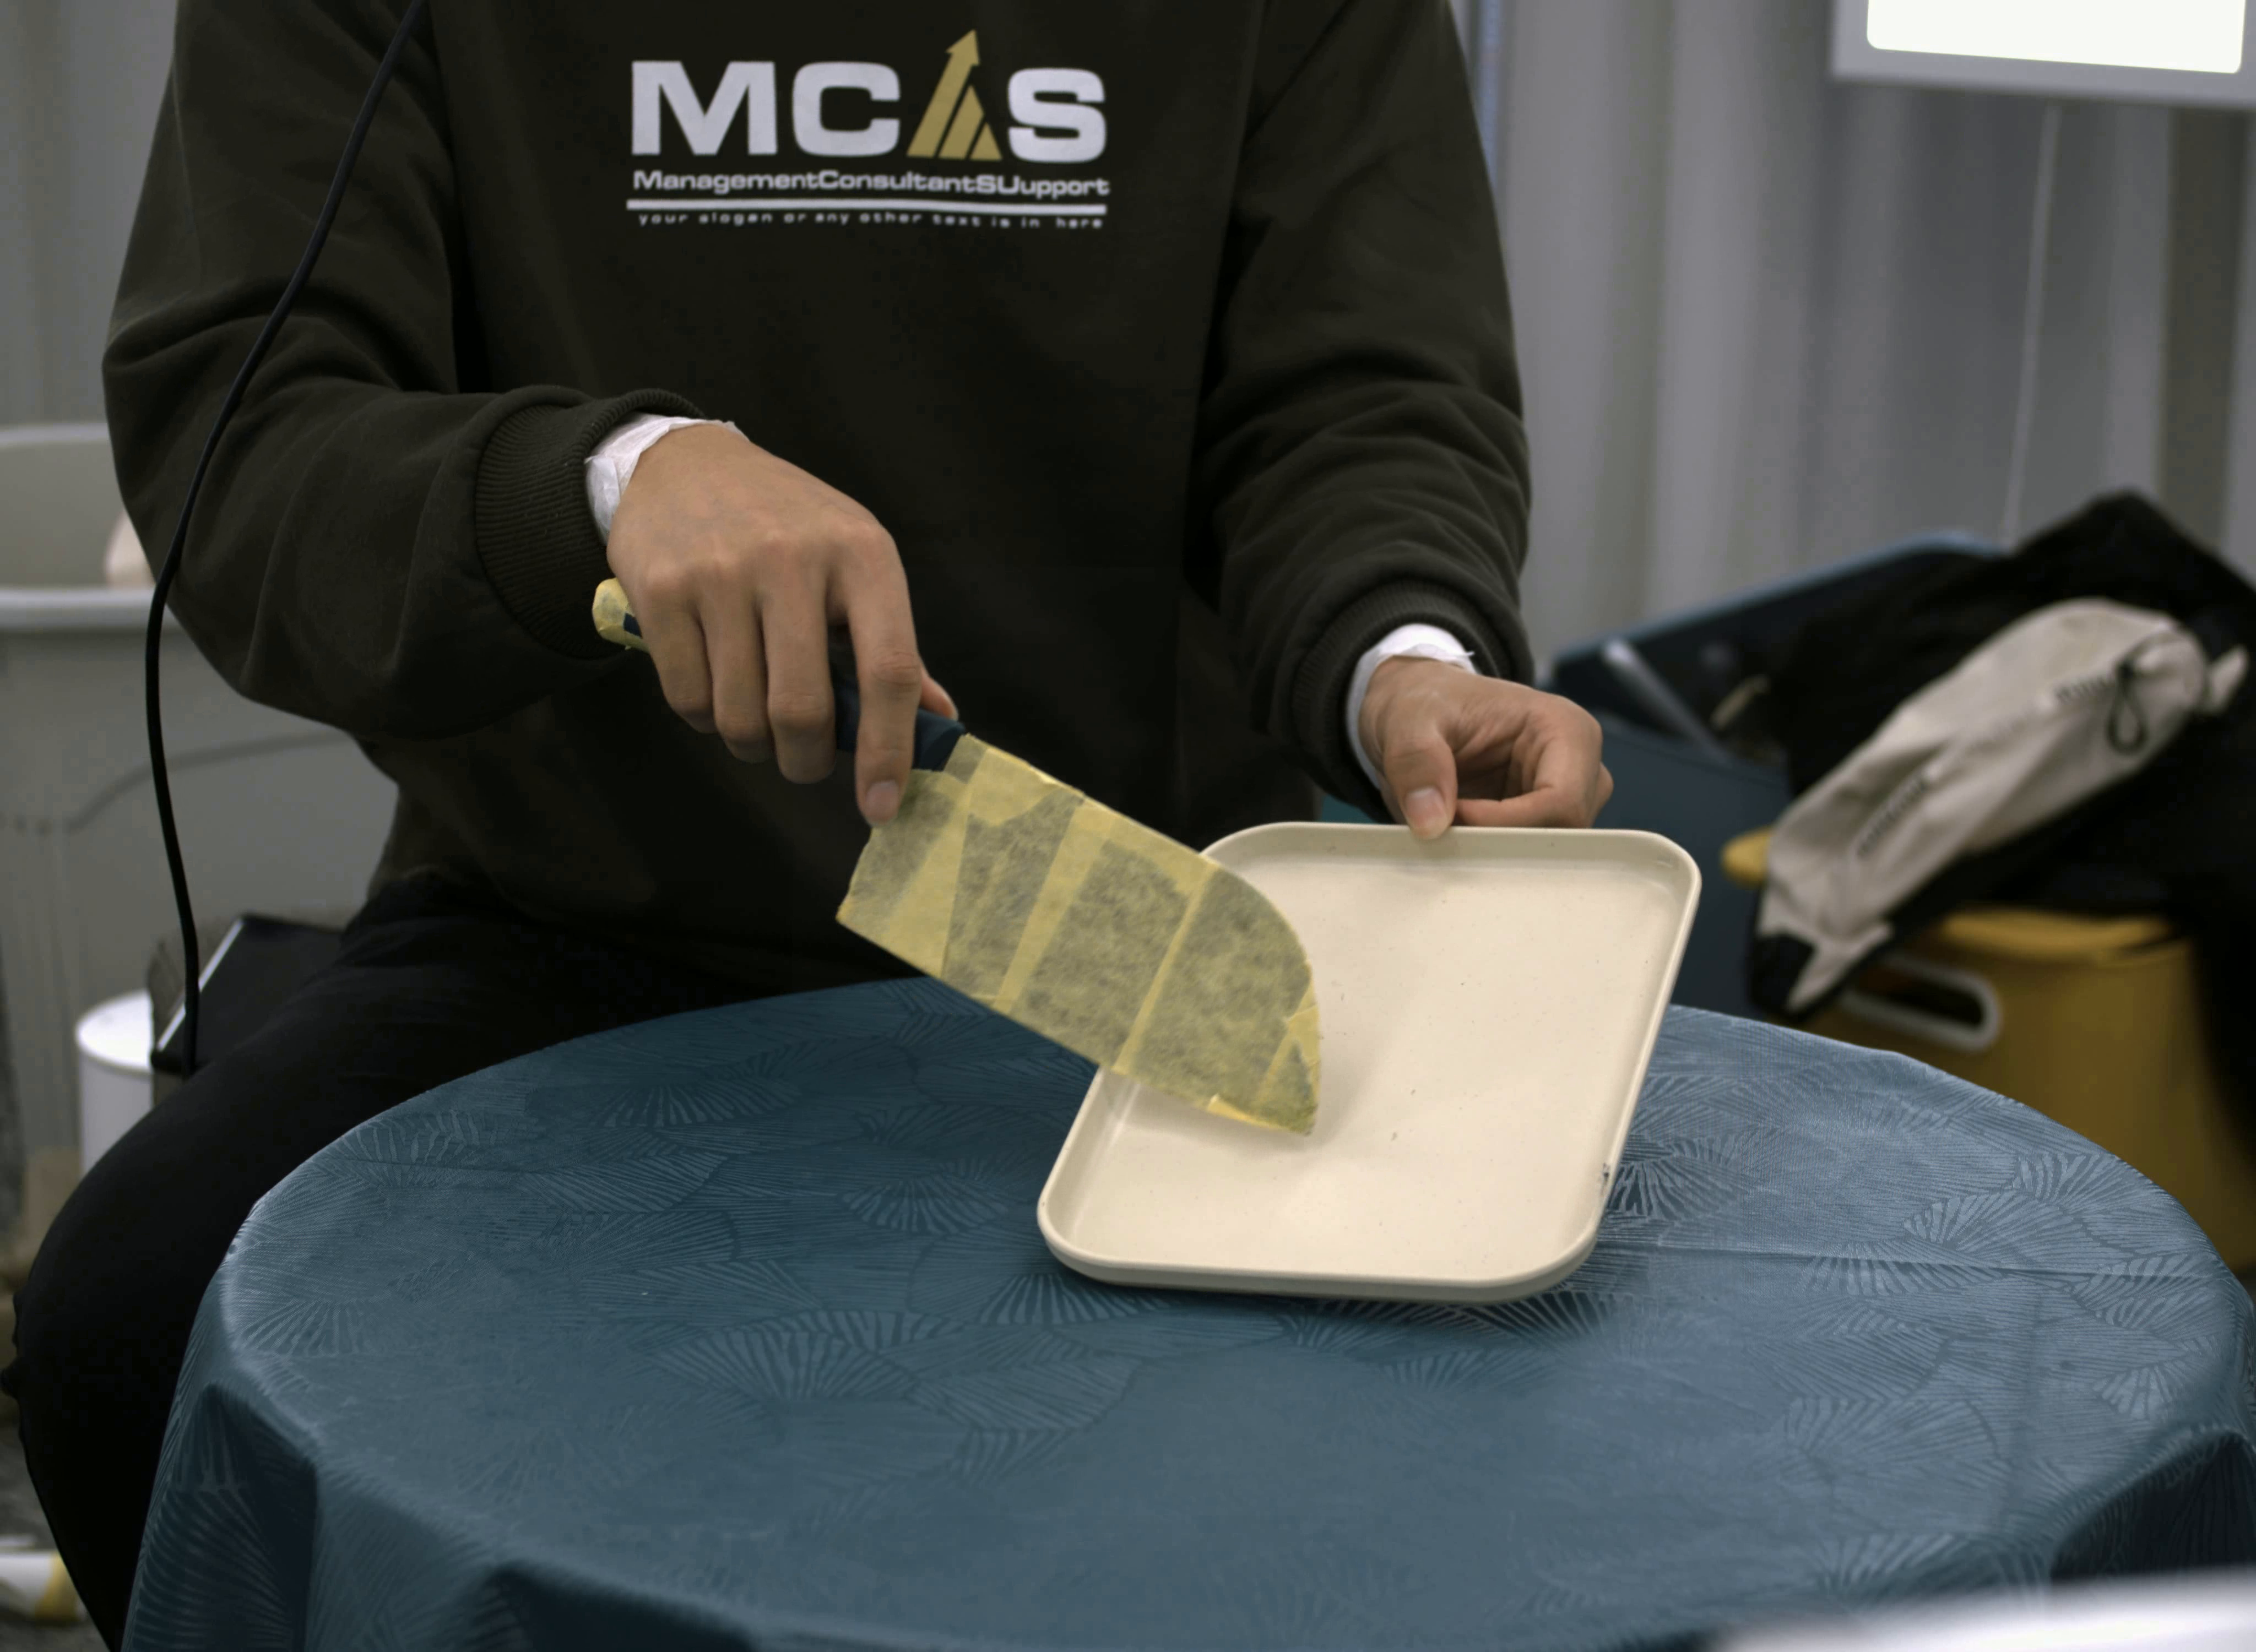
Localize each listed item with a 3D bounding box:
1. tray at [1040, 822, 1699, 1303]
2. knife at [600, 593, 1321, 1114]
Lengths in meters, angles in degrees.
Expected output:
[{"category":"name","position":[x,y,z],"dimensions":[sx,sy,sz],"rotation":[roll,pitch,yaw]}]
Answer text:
[{"category":"tray","position":[0.078,0.070,1.614],"dimensions":[0.170,0.018,0.238],"rotation":[1,34,16]},{"category":"knife","position":[-0.057,0.006,1.632],"dimensions":[0.286,0.081,0.027],"rotation":[31,7,22]}]
